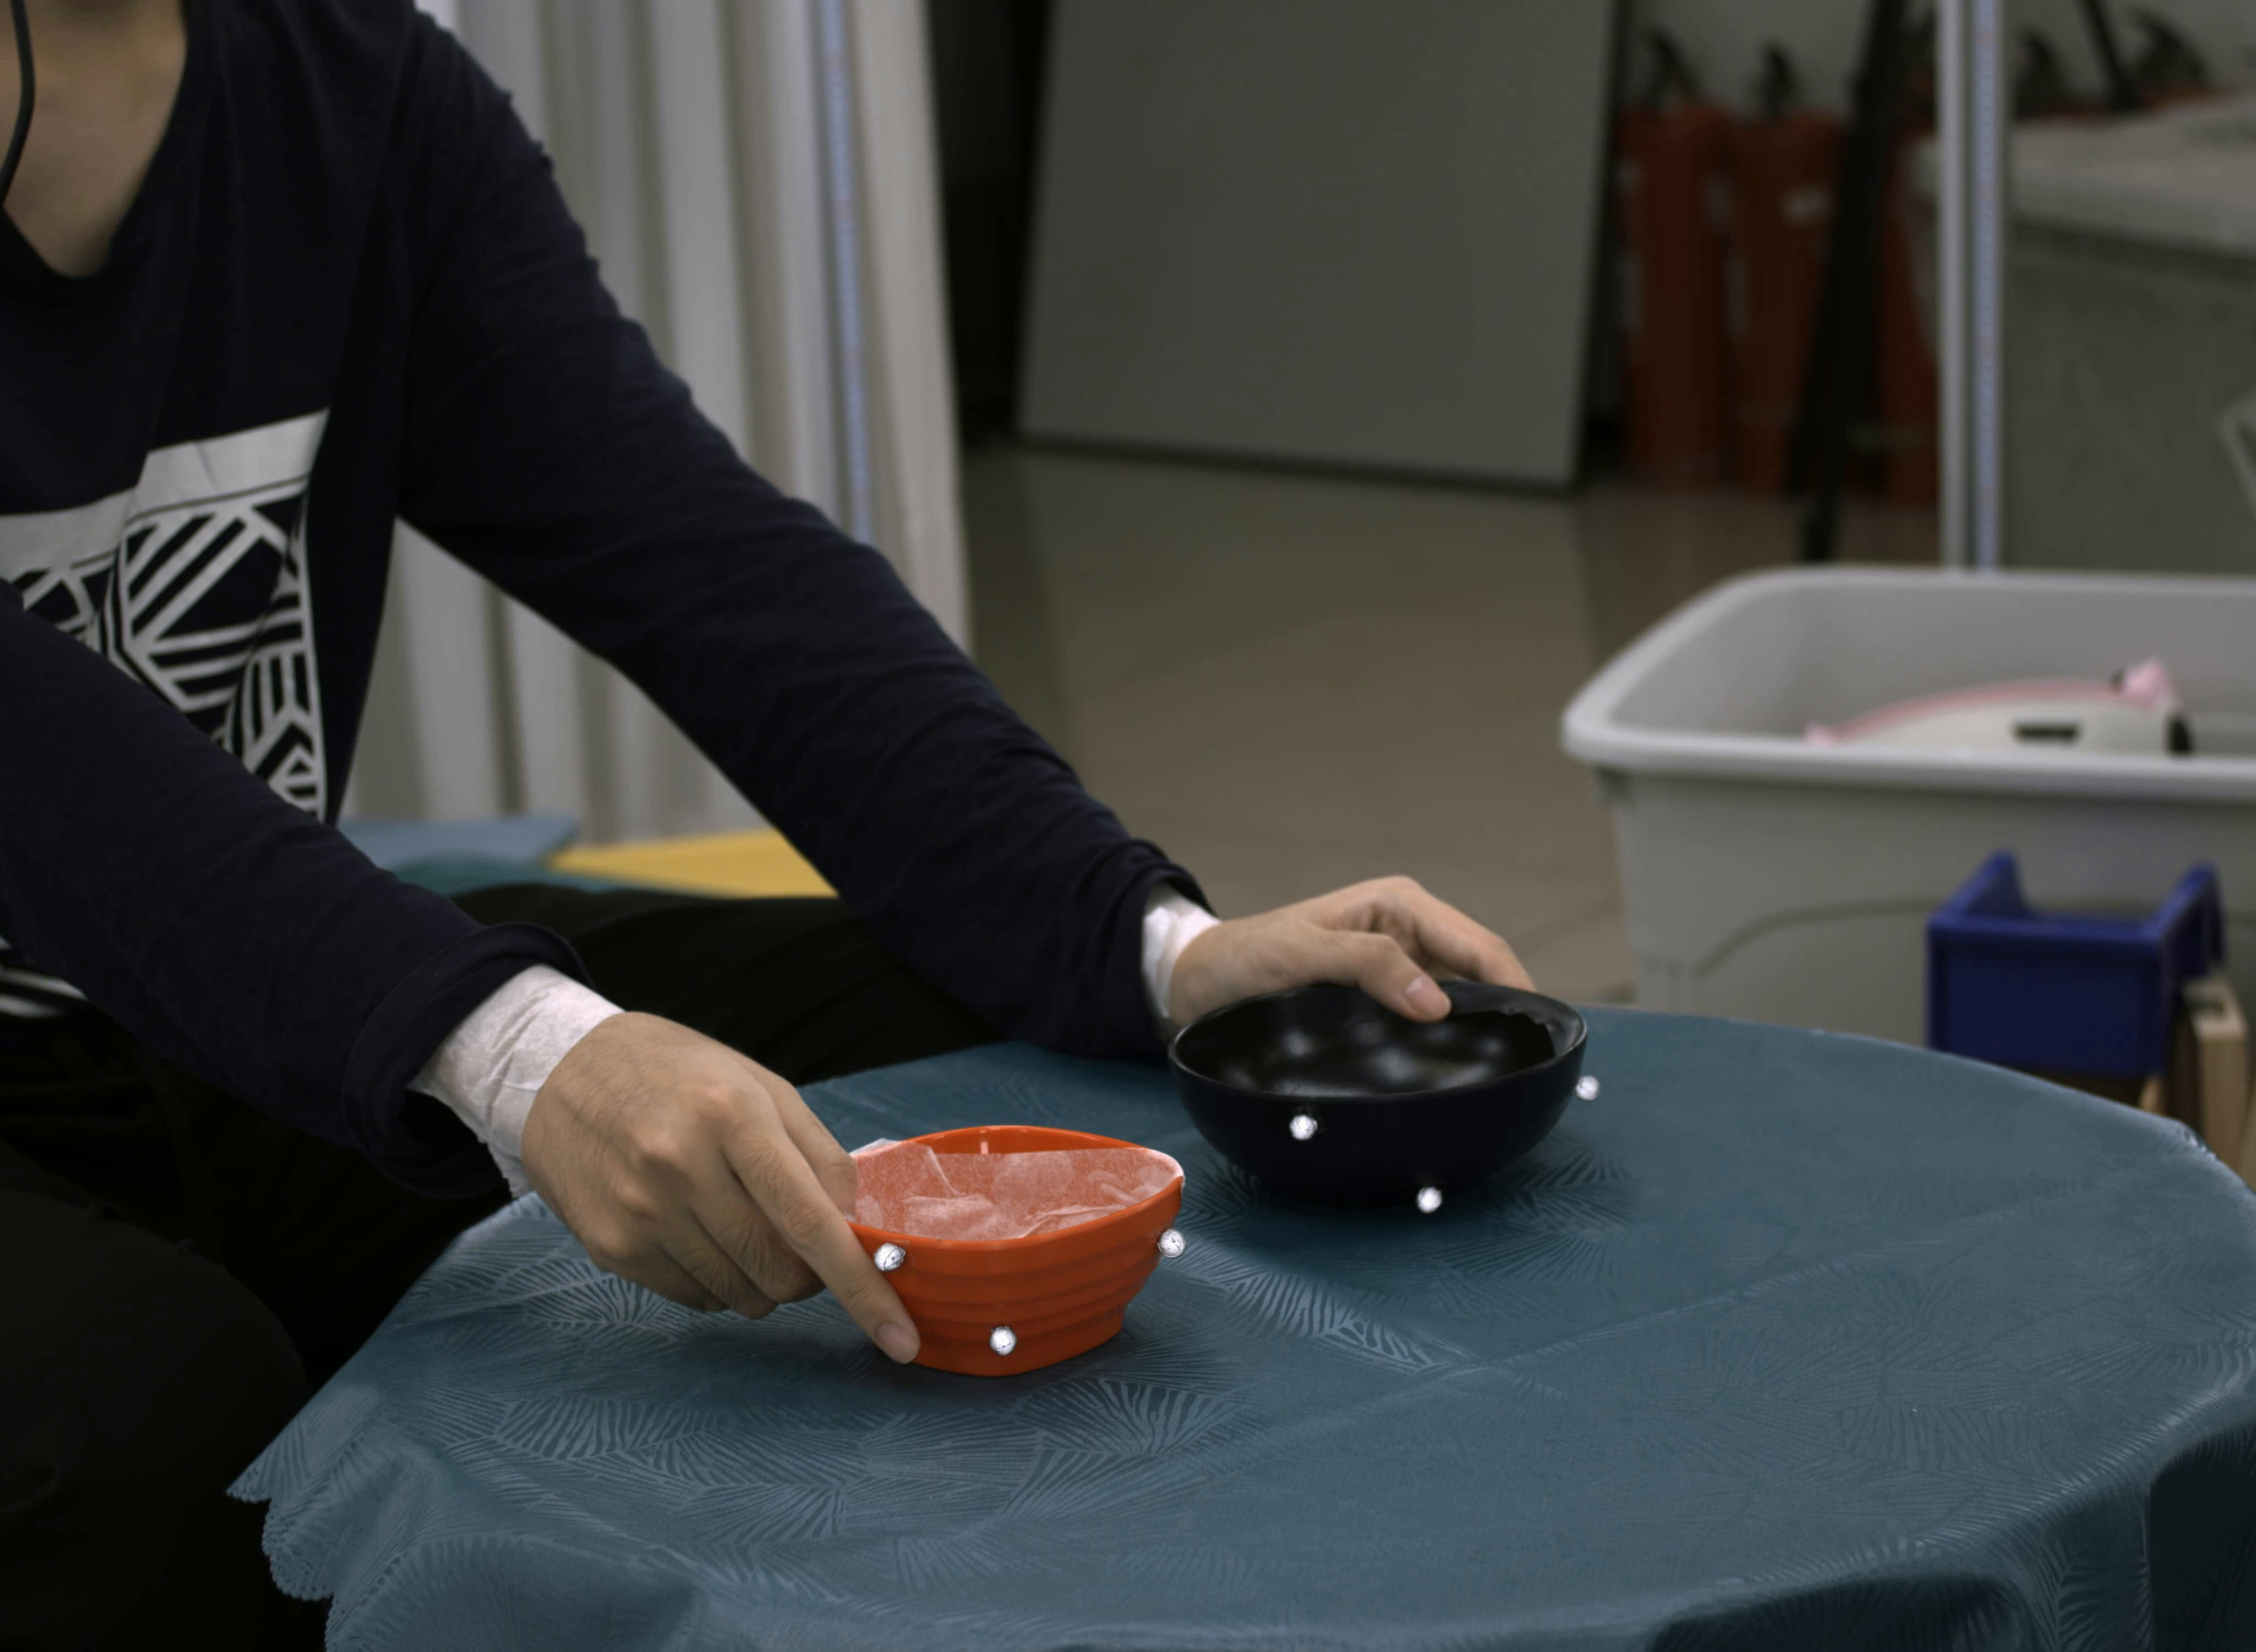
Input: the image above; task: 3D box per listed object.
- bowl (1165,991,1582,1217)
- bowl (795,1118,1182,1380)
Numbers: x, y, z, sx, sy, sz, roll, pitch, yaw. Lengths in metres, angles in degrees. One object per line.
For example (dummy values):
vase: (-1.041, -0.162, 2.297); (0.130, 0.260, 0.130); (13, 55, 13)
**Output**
bowl: (0.083, 0.095, 1.765); (0.138, 0.050, 0.140); (-7, 11, 0)
bowl: (-0.041, 0.130, 1.637); (0.117, 0.052, 0.119); (-3, 15, 0)
